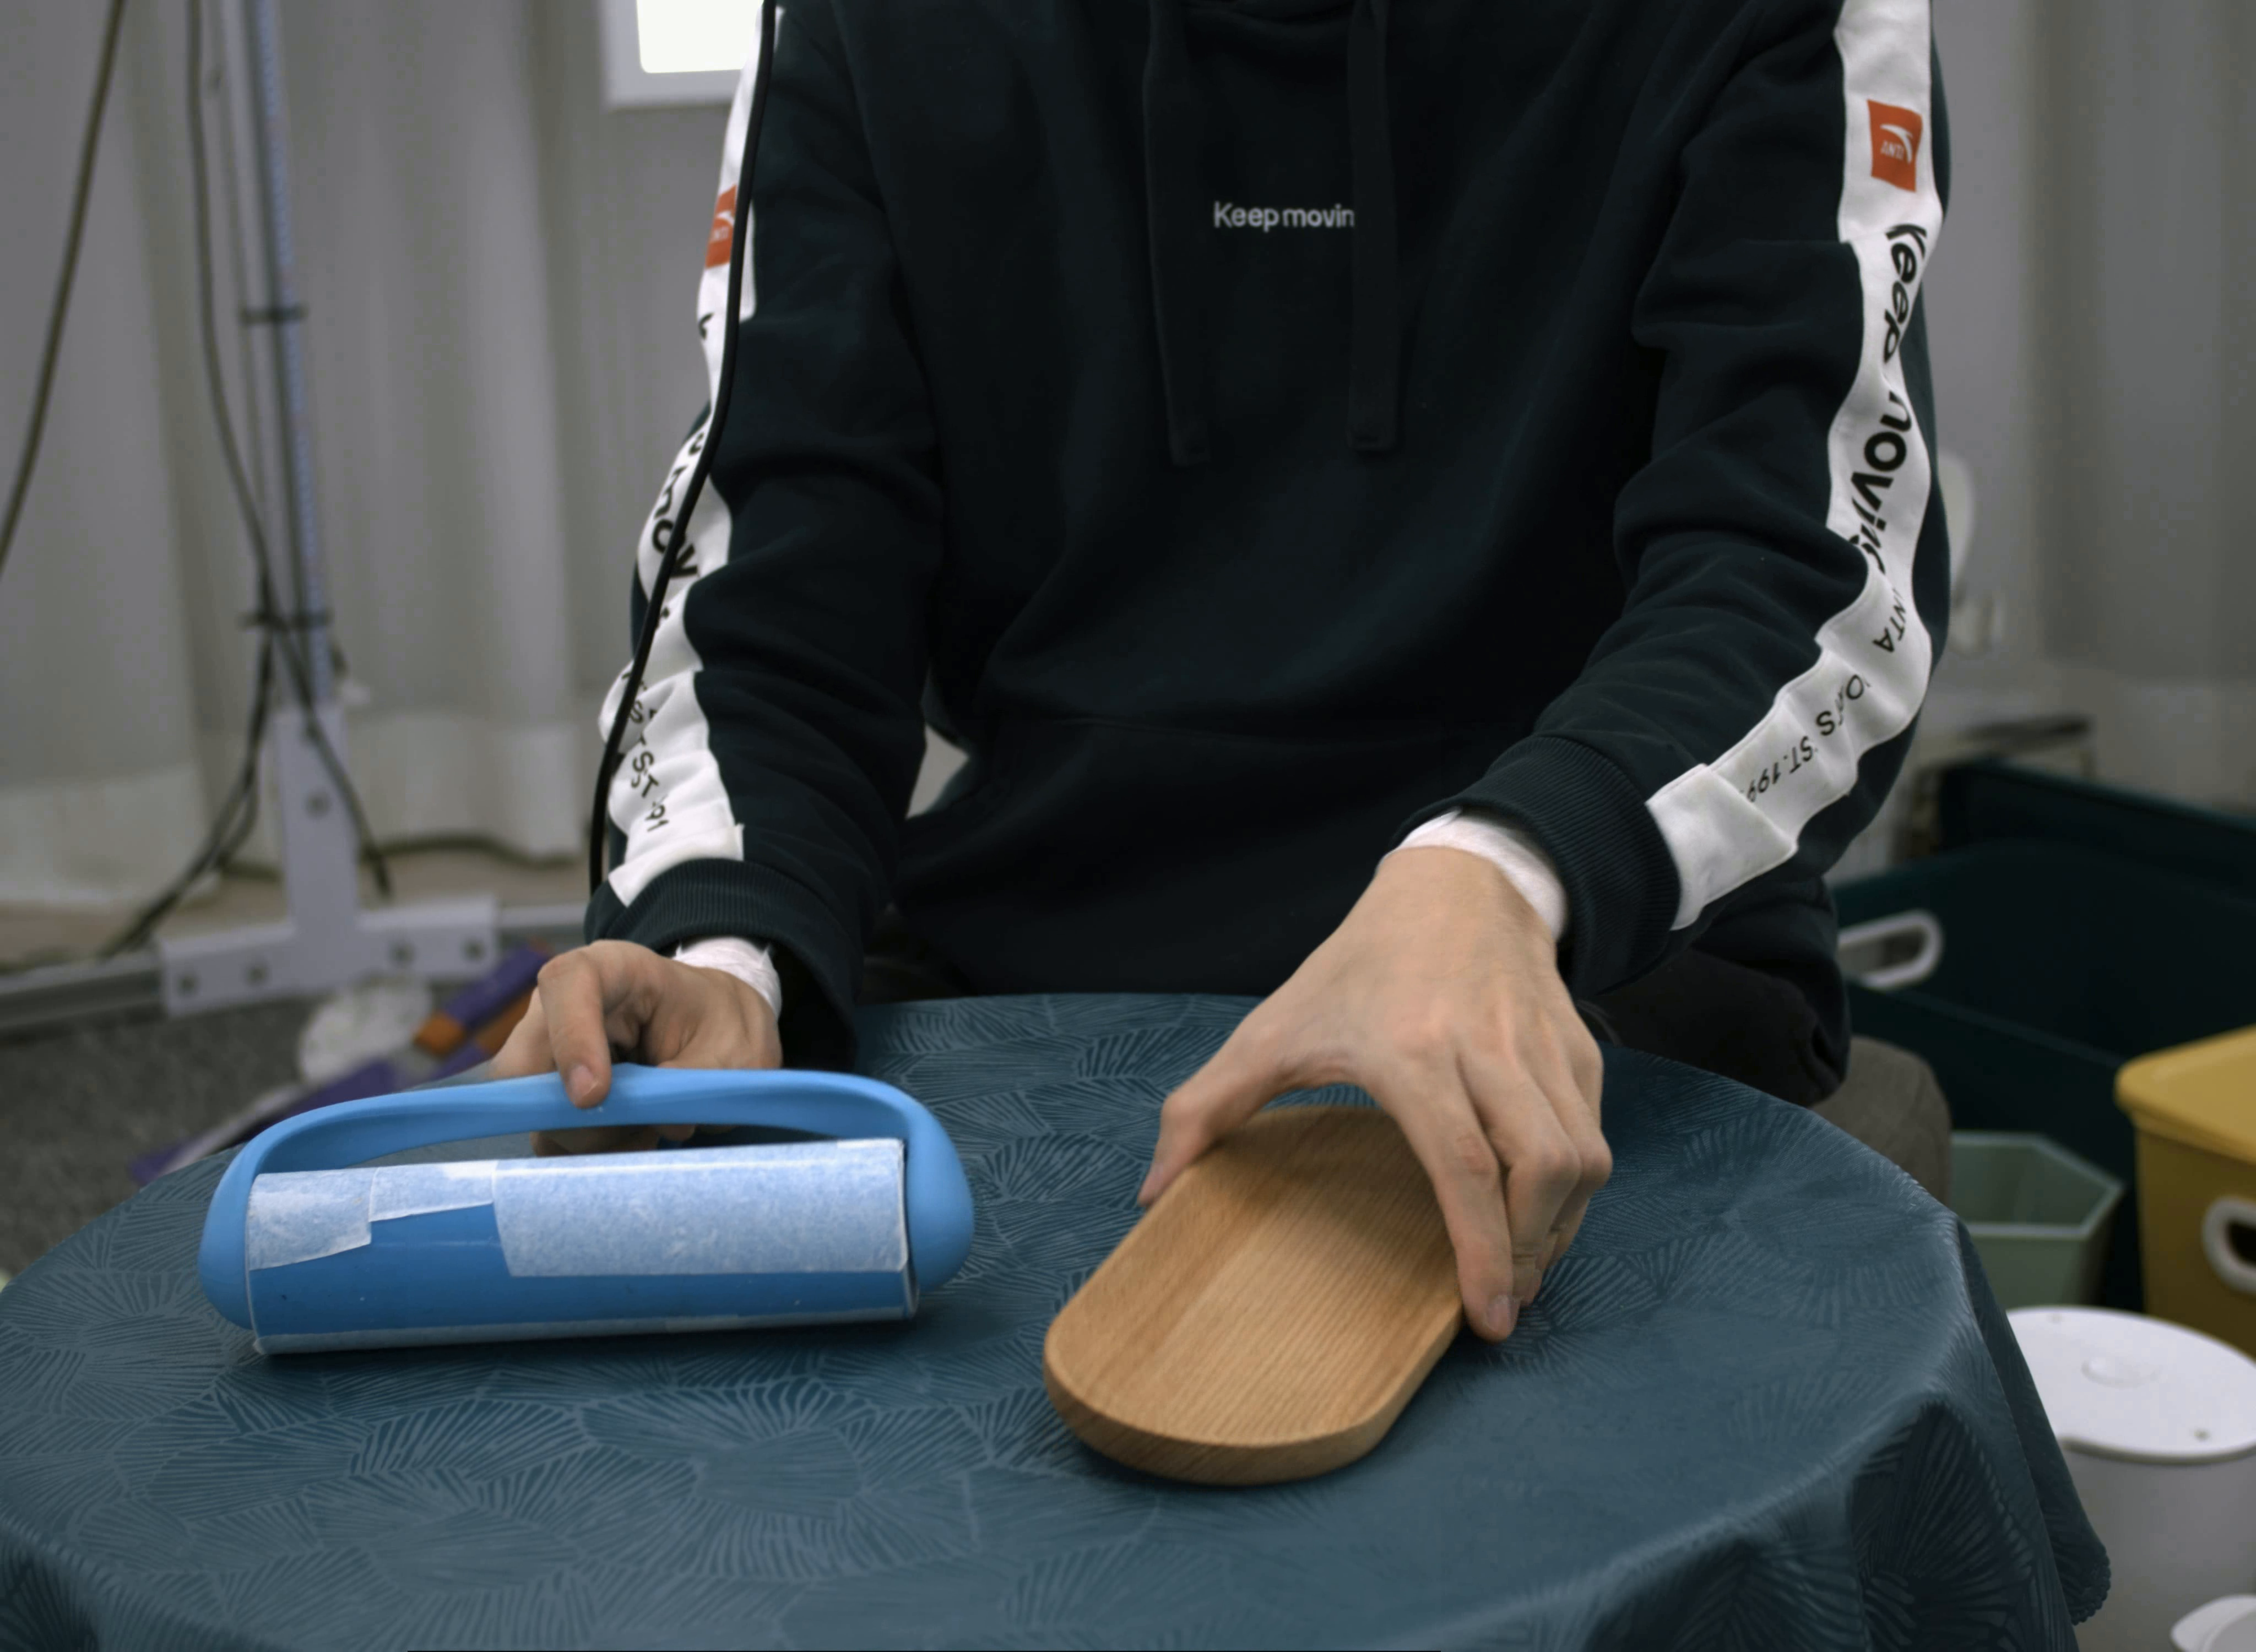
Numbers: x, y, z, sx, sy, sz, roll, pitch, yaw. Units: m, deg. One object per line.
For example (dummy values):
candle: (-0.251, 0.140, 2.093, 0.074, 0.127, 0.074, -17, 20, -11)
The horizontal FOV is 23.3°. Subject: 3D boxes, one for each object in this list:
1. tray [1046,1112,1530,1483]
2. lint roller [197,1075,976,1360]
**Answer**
tray: (0.048, 0.133, 1.570, 0.102, 0.020, 0.232, 11, 20, 16)
lint roller: (-0.160, 0.107, 1.659, 0.228, 0.067, 0.181, -5, 16, 0)
